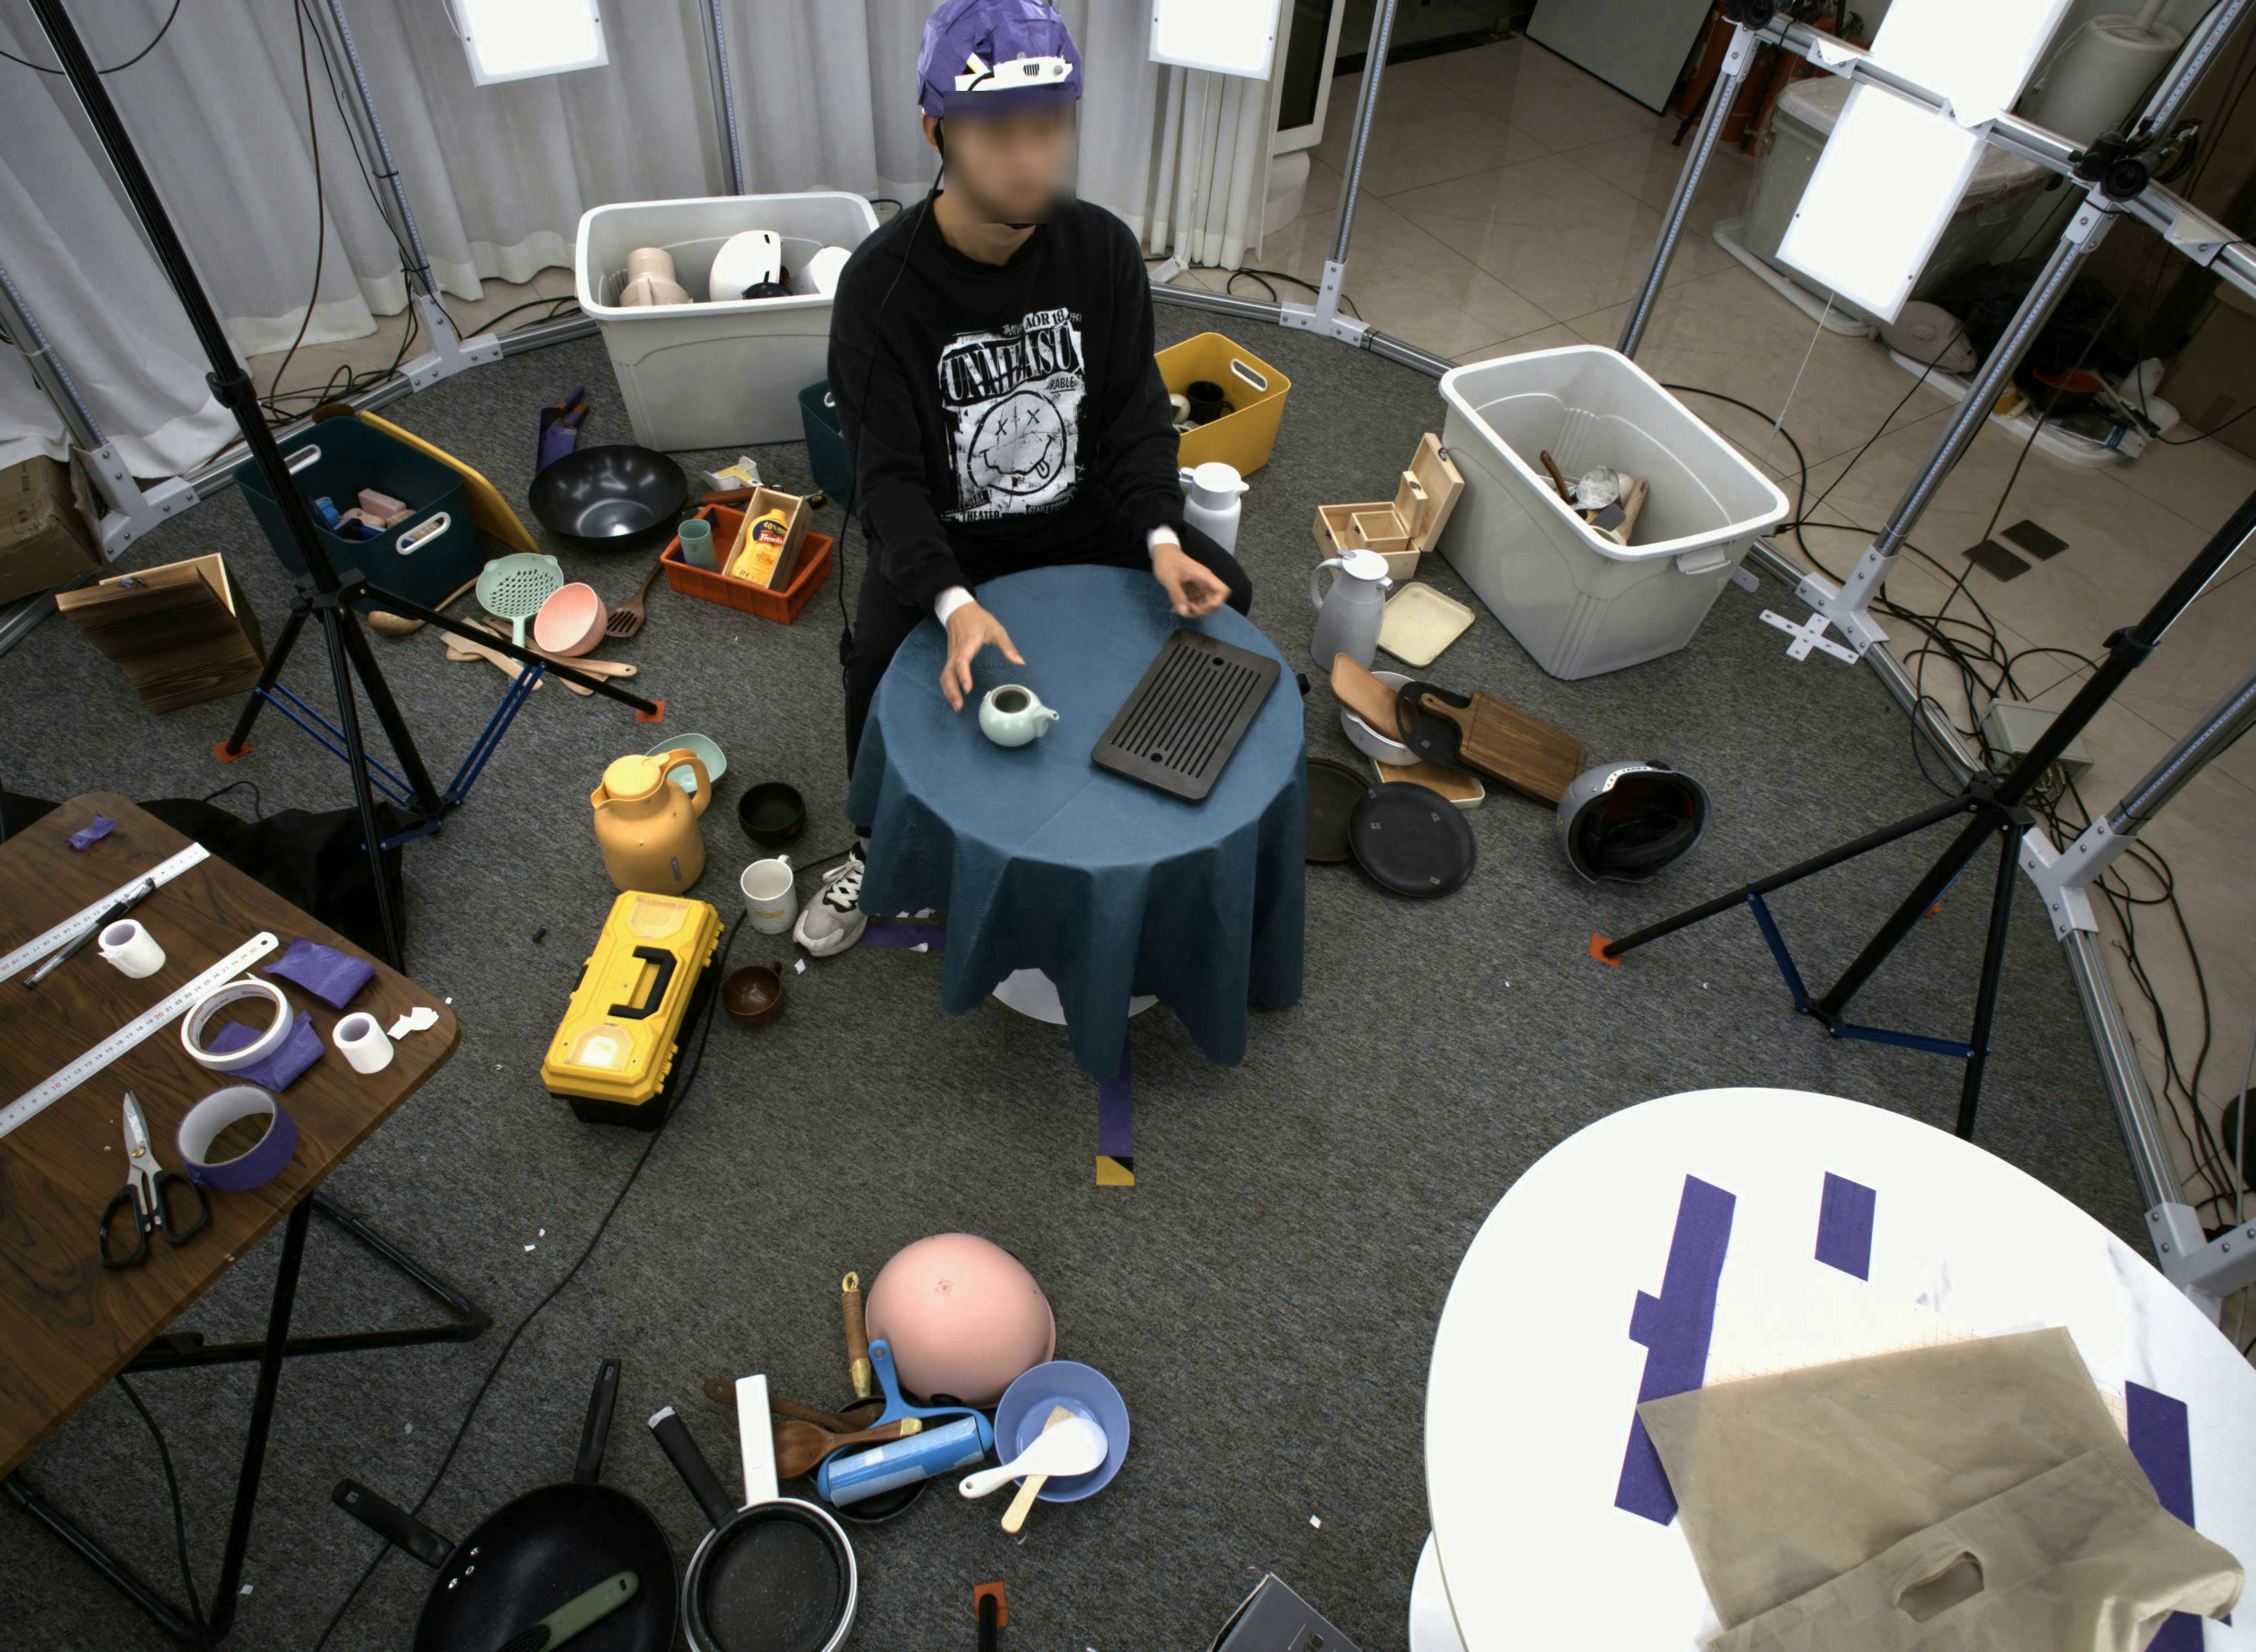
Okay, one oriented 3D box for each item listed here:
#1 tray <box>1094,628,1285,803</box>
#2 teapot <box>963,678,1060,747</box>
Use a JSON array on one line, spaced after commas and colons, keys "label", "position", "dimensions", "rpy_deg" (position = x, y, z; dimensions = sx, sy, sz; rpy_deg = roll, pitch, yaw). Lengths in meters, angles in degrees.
[{"label": "tray", "position": [0.090, -0.159, 1.801], "dimensions": [0.171, 0.018, 0.311], "rpy_deg": [21, 51, 15]}, {"label": "teapot", "position": [-0.158, -0.151, 1.744], "dimensions": [0.145, 0.073, 0.090], "rpy_deg": [24, 52, 15]}]
